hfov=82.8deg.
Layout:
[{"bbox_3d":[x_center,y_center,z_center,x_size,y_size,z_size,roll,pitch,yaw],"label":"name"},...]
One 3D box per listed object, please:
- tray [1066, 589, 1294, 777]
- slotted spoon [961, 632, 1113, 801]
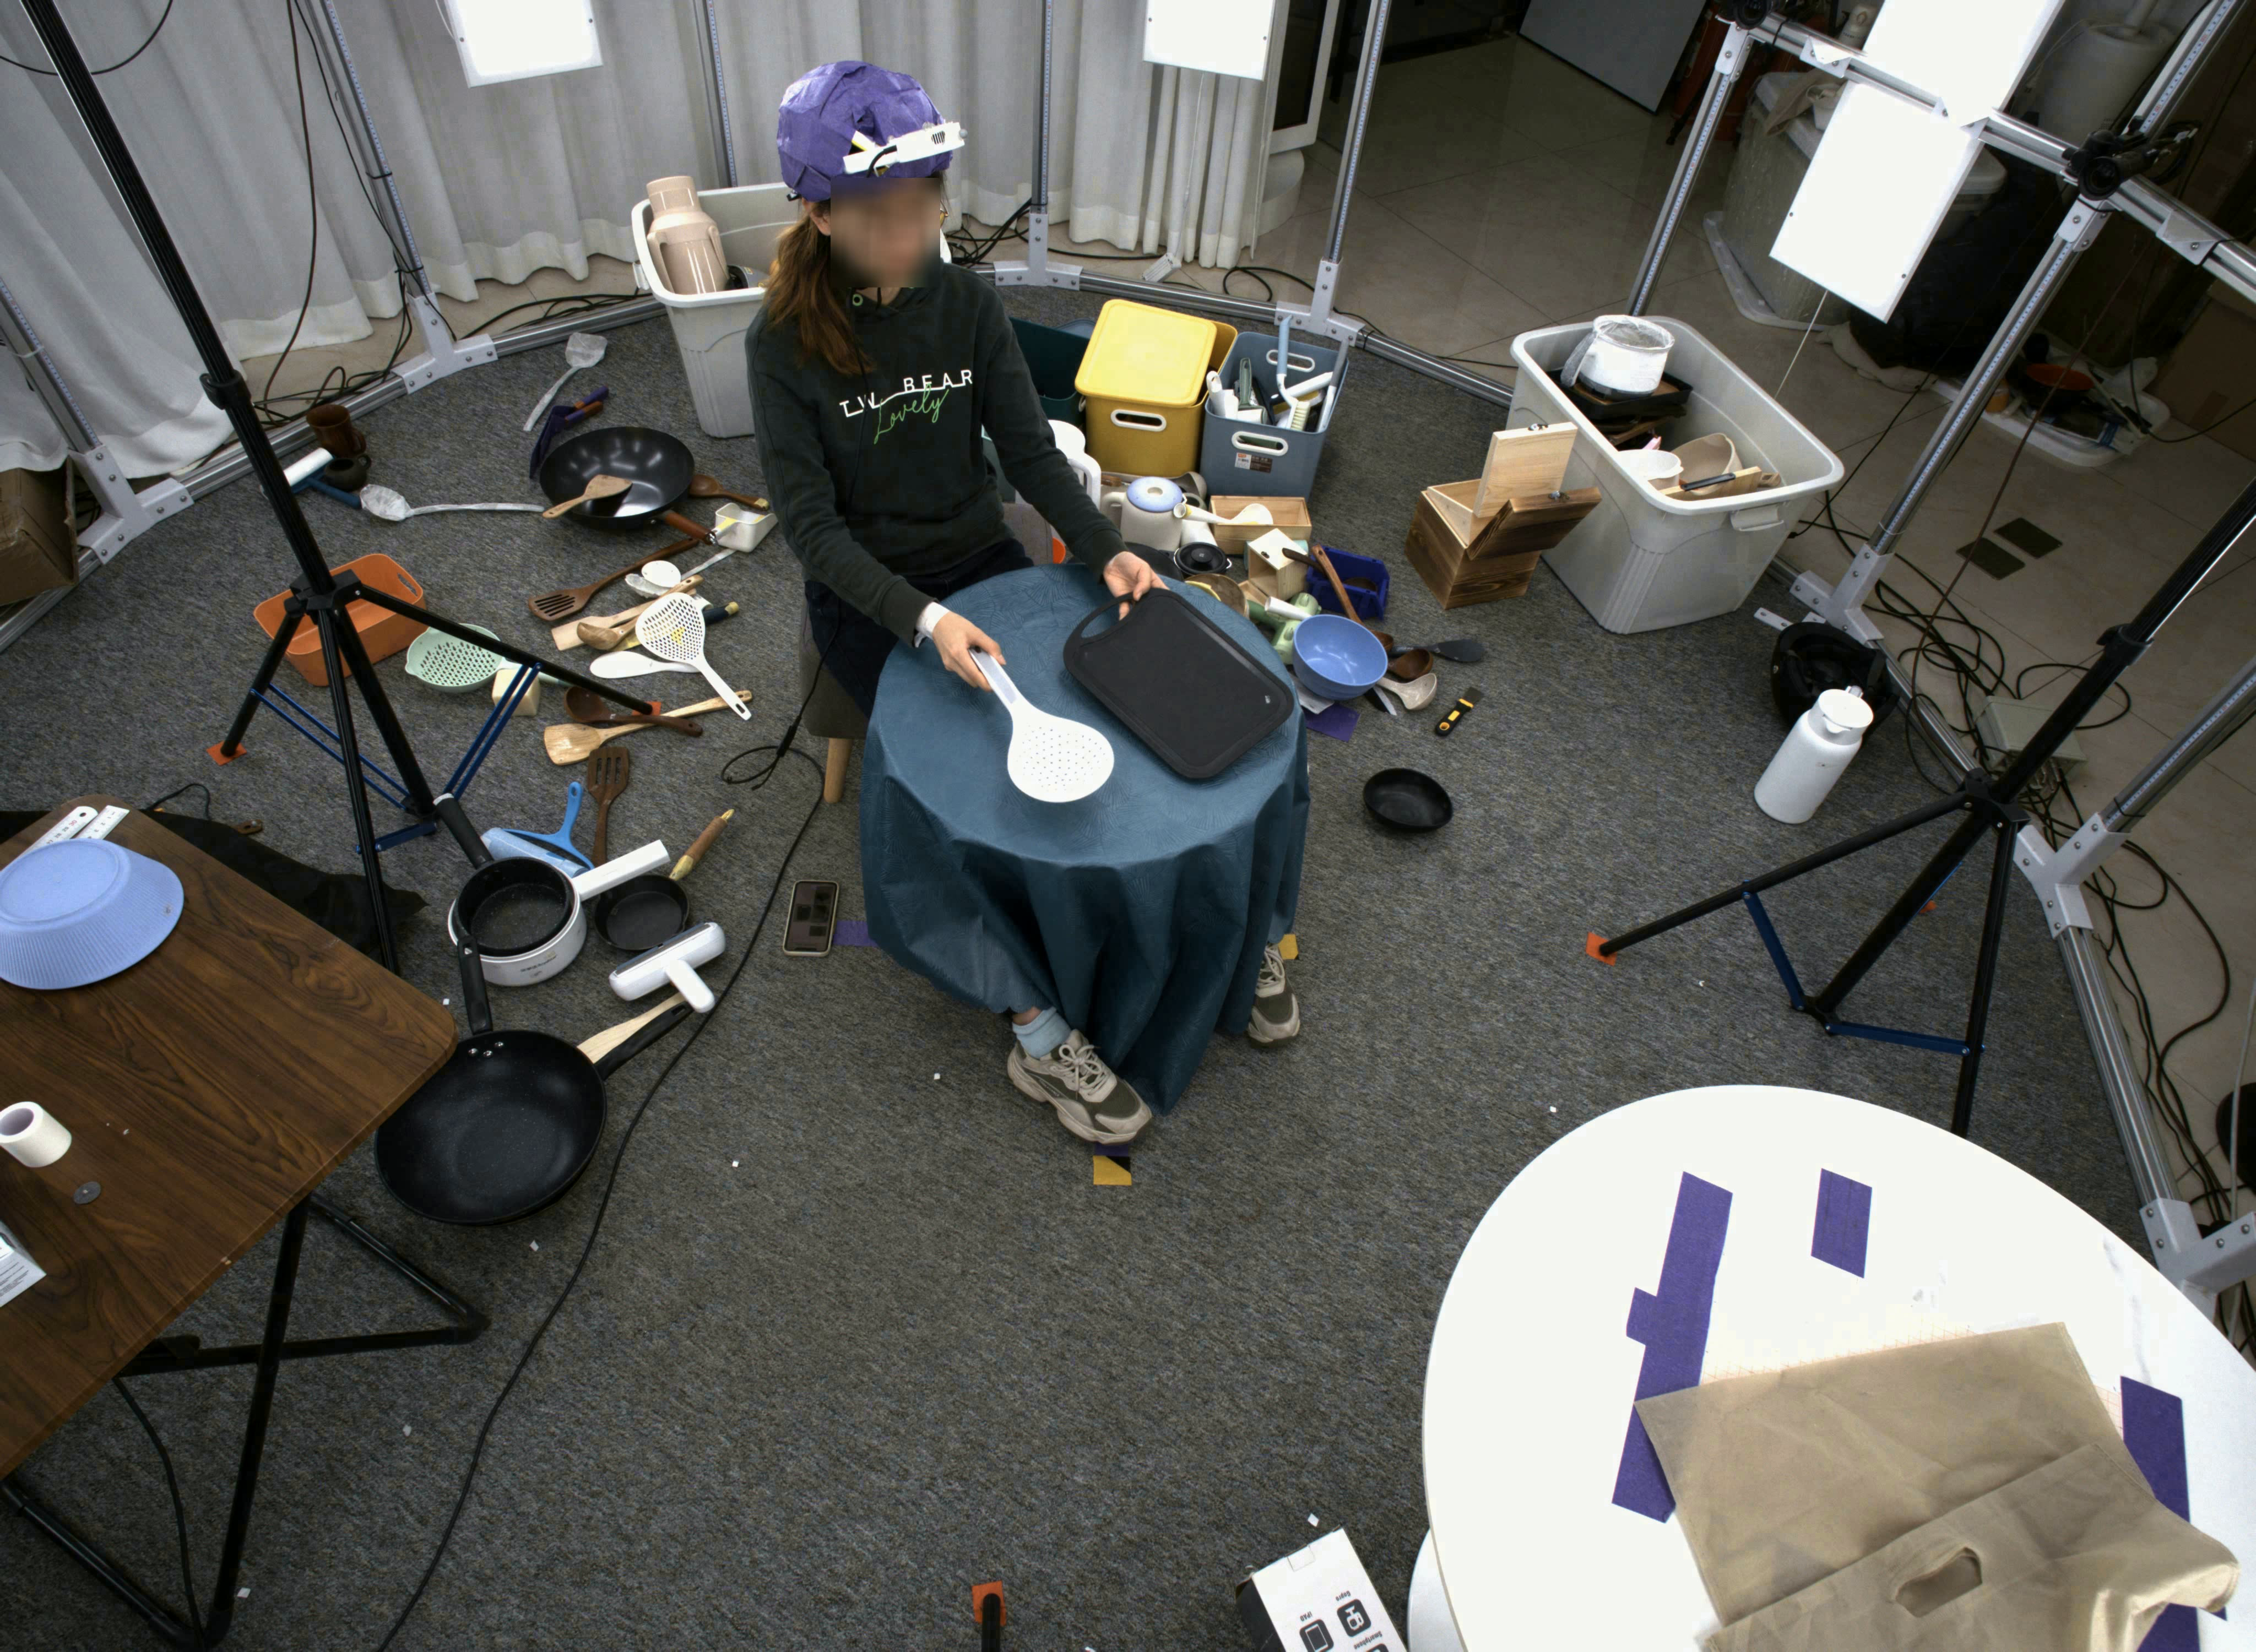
[{"bbox_3d":[0.064,-0.214,1.820,0.212,0.009,0.330,-37,64,-19],"label":"tray"},{"bbox_3d":[-0.141,-0.153,1.731,0.136,0.044,0.357,-24,57,-18],"label":"slotted spoon"}]
